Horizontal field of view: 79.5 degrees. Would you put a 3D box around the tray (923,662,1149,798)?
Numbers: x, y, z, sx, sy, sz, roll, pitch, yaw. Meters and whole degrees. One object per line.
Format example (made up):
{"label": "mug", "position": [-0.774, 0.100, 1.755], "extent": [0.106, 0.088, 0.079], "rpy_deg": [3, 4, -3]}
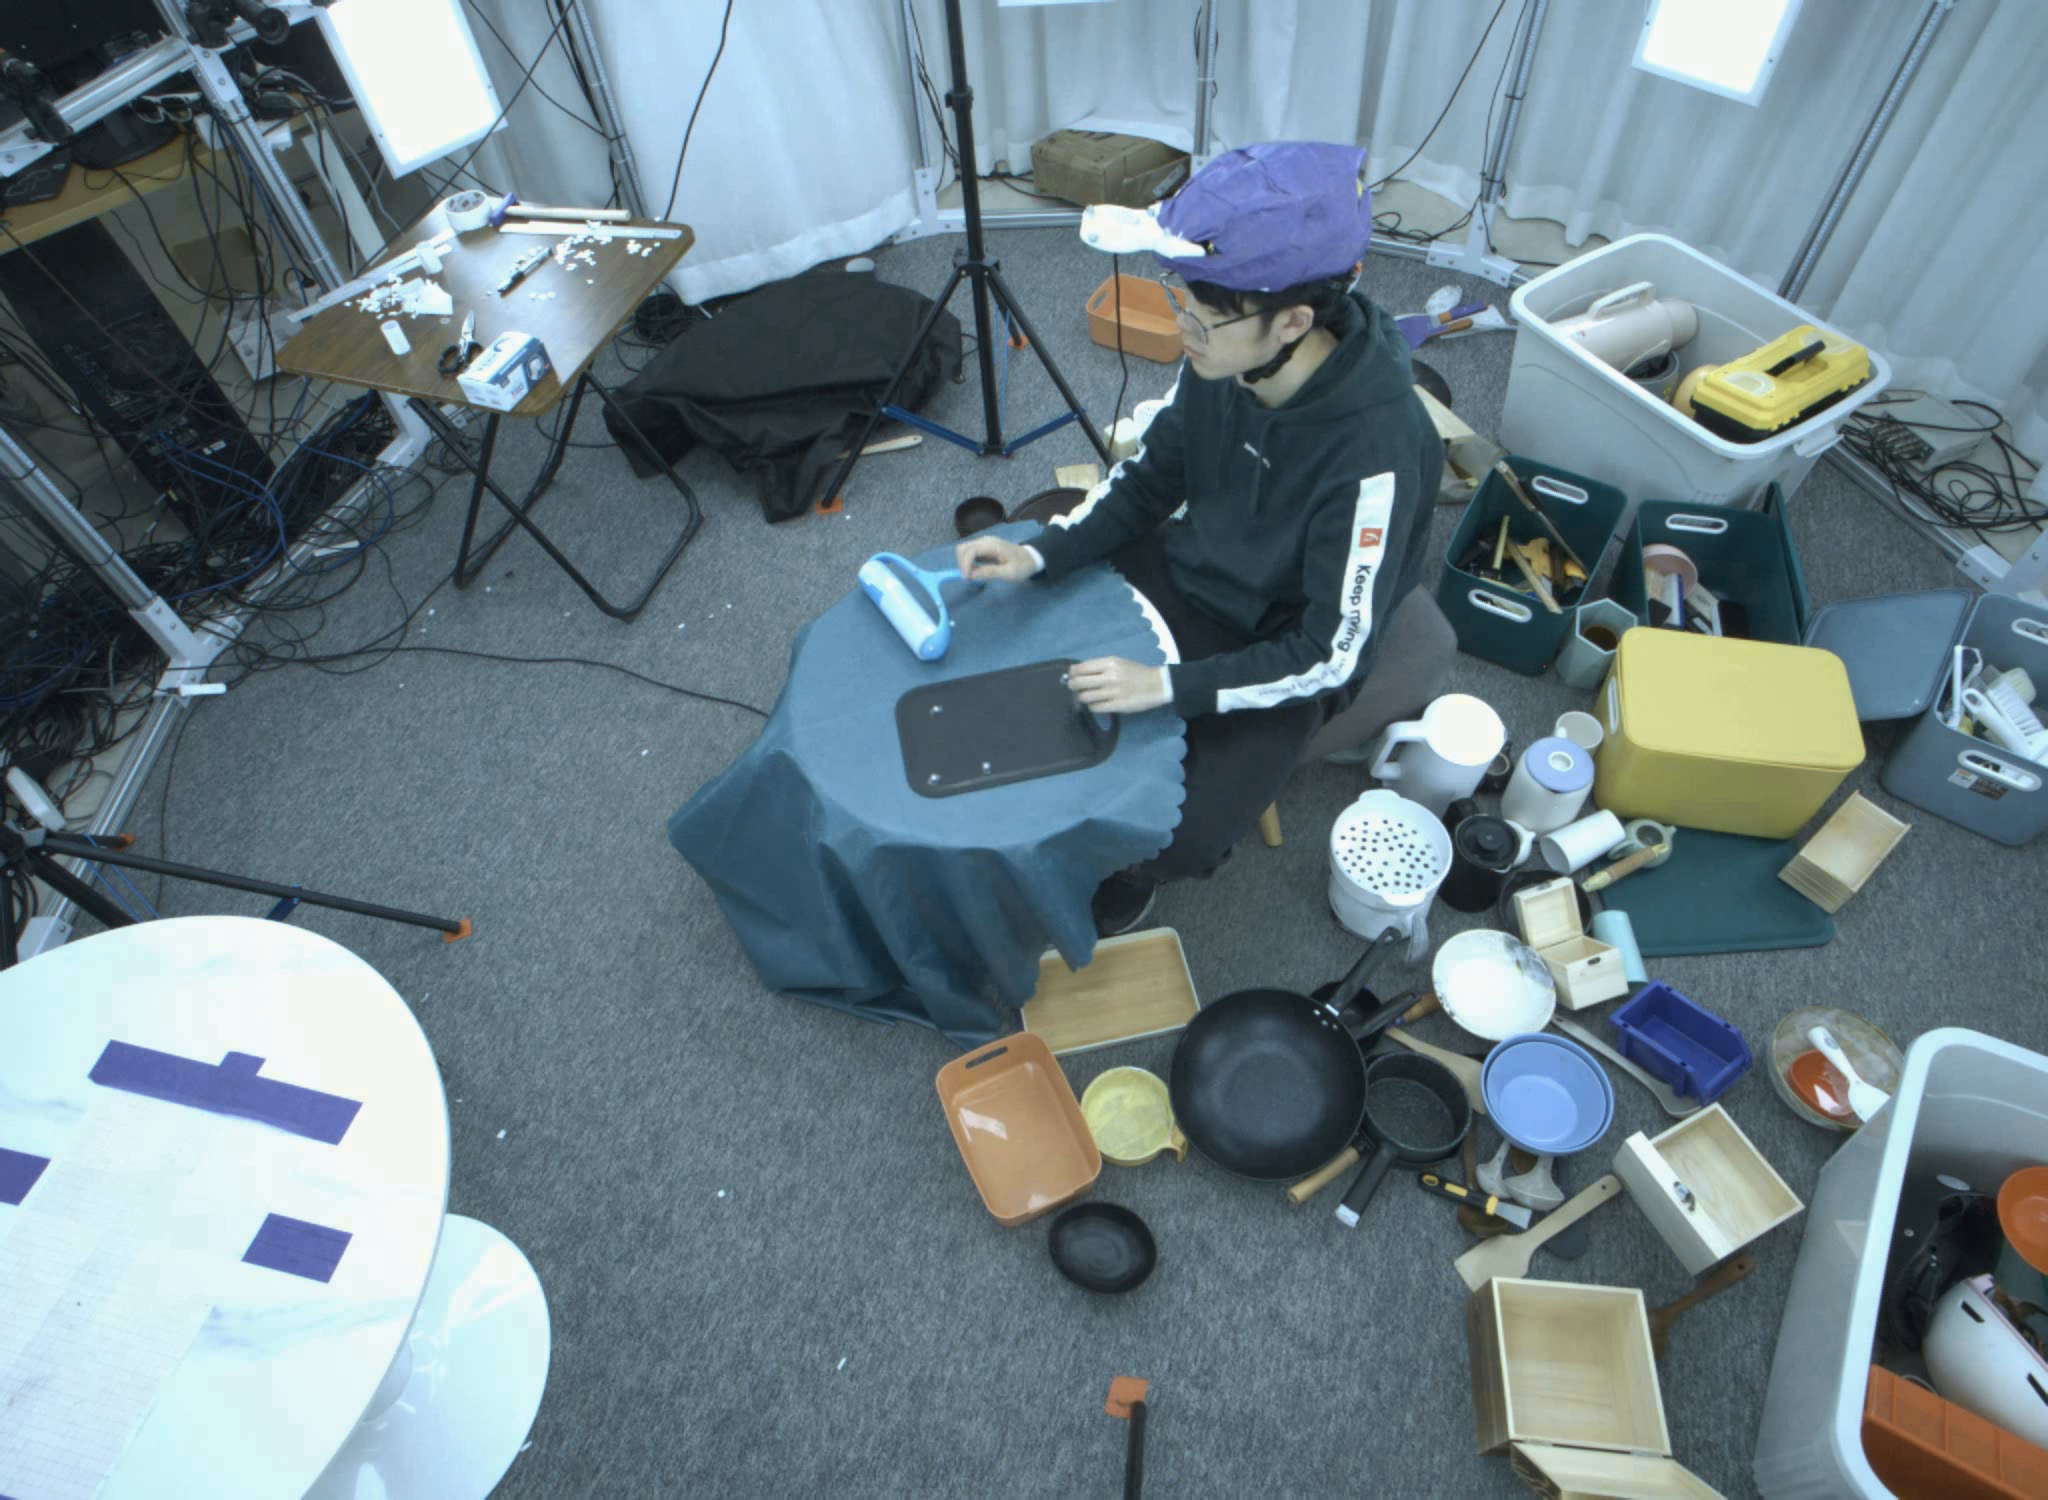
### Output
{"label": "tray", "position": [0.019, -0.035, 1.803], "extent": [0.326, 0.010, 0.208], "rpy_deg": [-9, 55, -5]}

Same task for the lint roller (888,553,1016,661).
{"label": "lint roller", "position": [-0.096, -0.249, 1.928], "extent": [0.181, 0.069, 0.224], "rpy_deg": [-31, 57, -17]}
